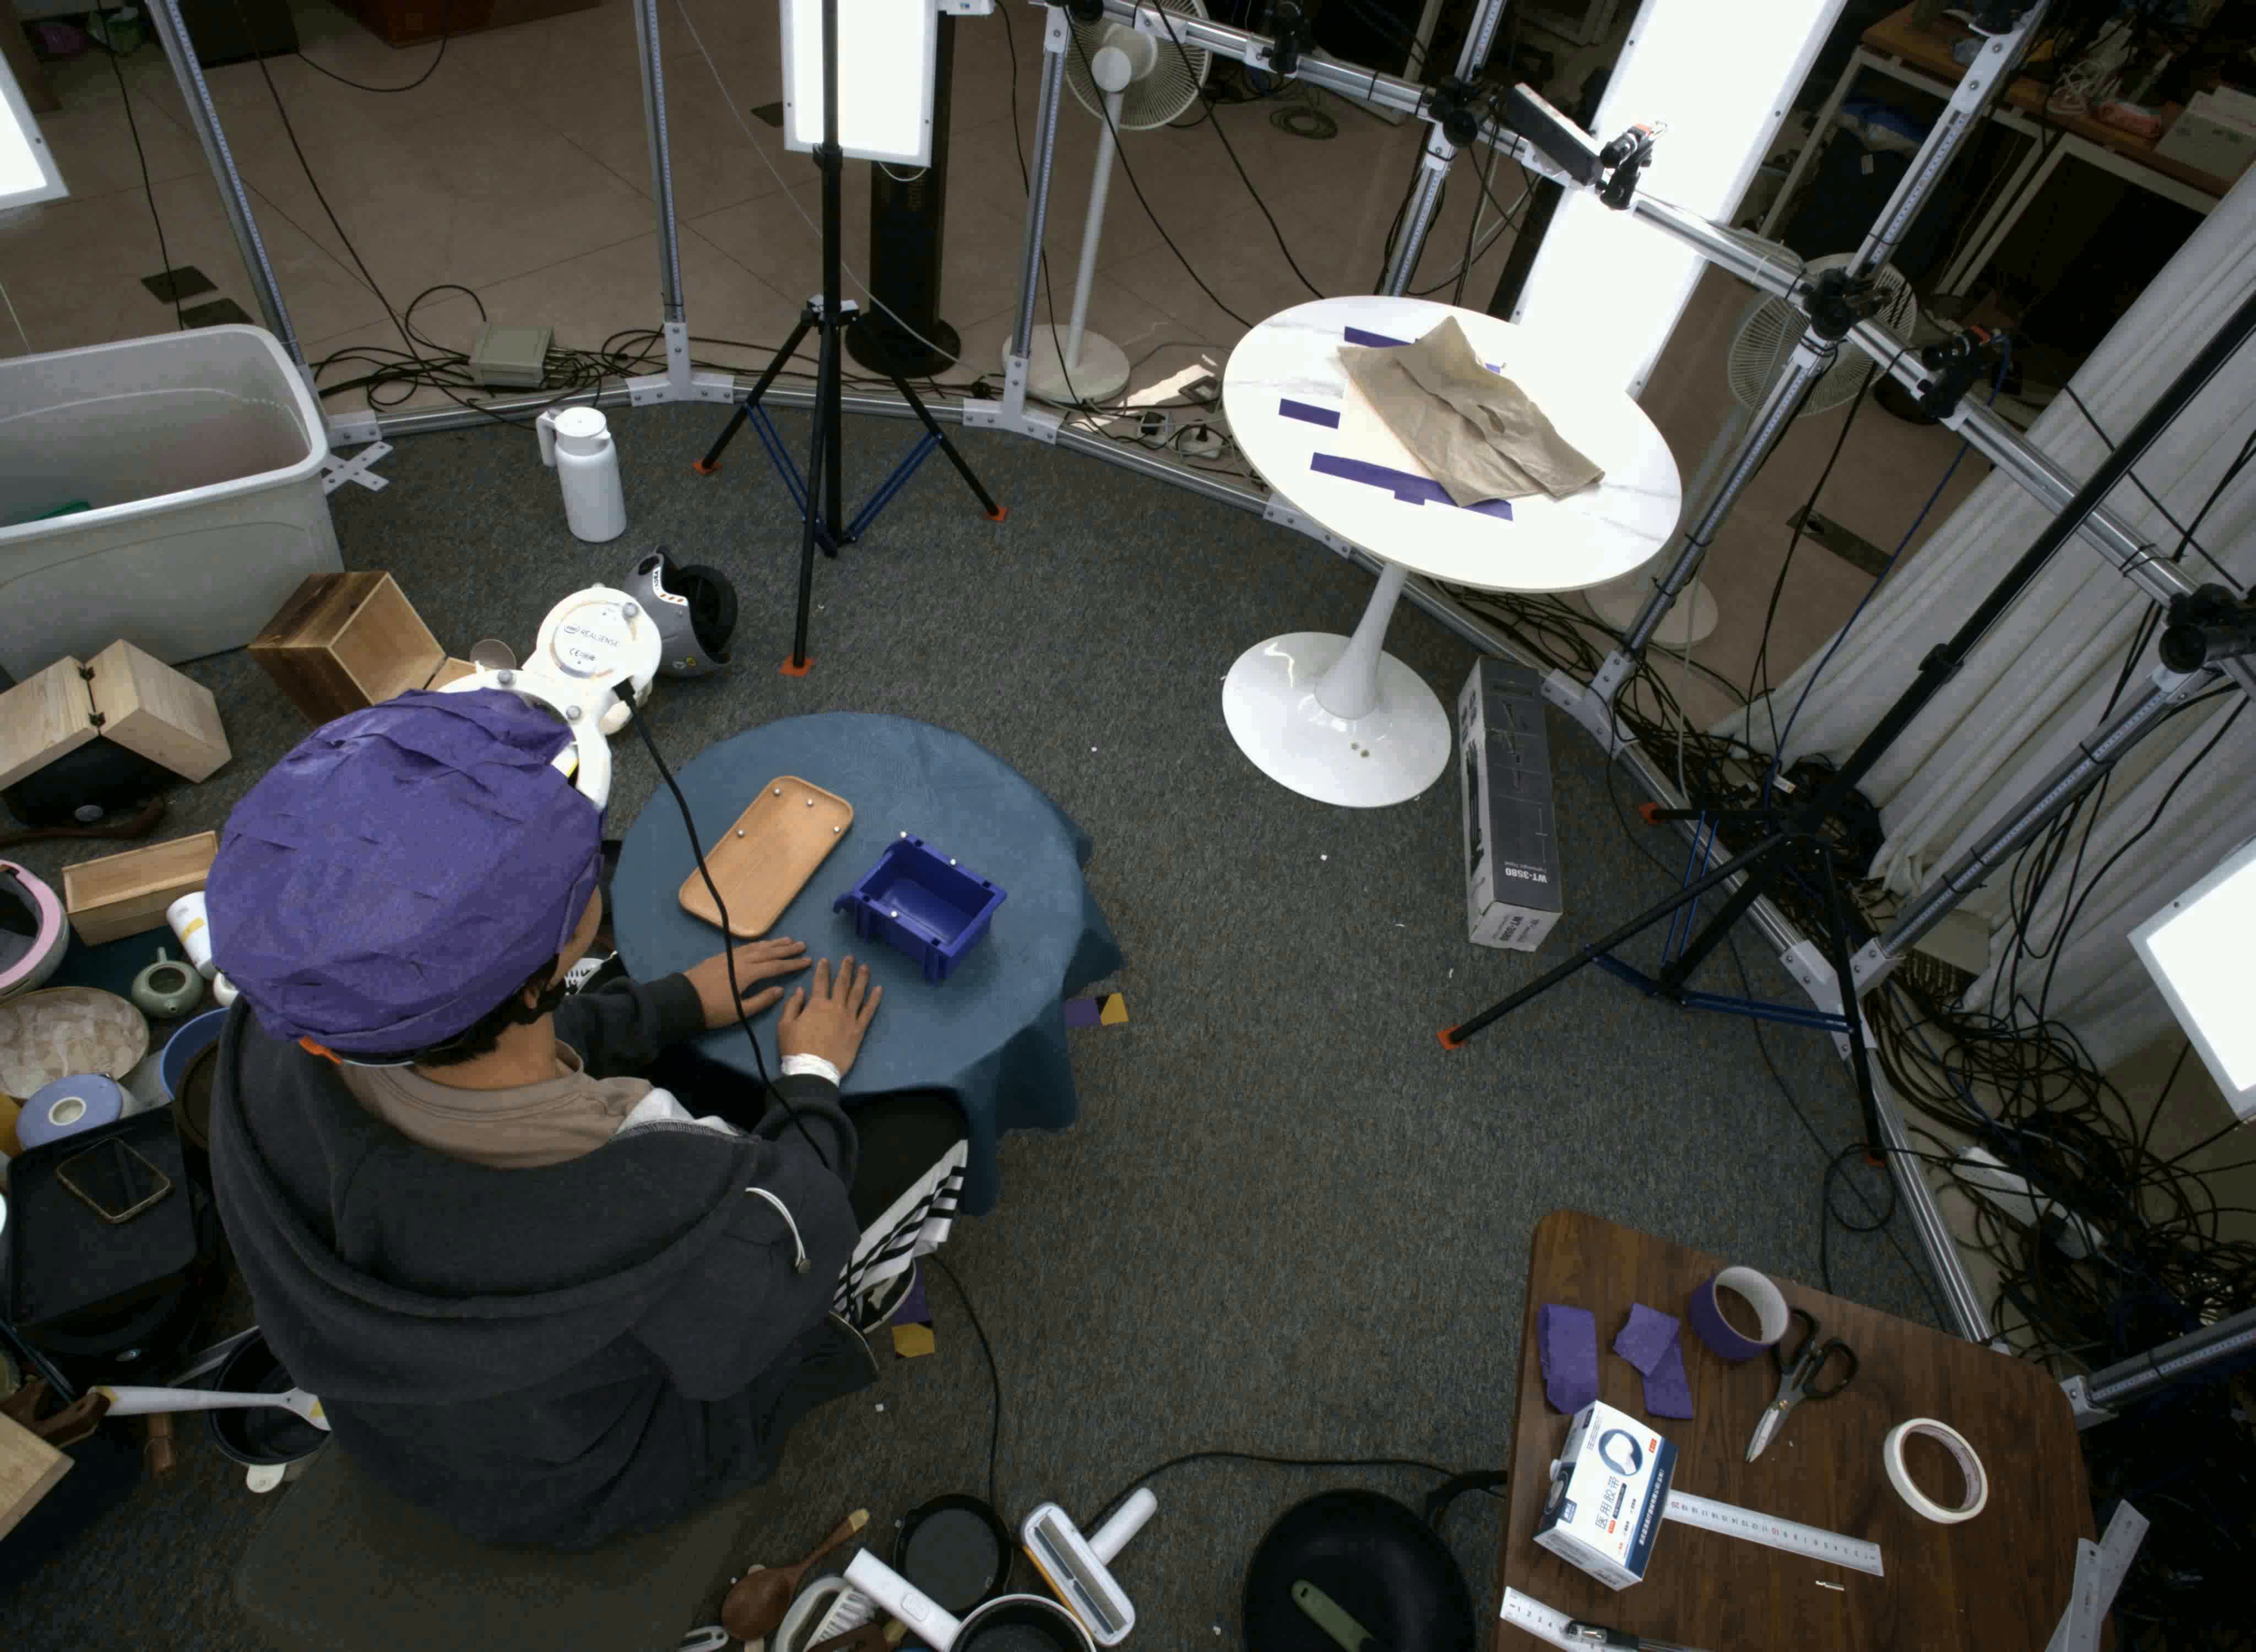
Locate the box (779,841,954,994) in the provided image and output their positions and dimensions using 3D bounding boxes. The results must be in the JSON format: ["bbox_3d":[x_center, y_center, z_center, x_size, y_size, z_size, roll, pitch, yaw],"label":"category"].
[{"bbox_3d":[-0.327,0.109,1.619,0.177,0.083,0.124,31,53,6],"label":"box"}]

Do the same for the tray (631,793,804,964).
[{"bbox_3d":[-0.521,0.062,1.647,0.128,0.023,0.249,22,52,6],"label":"tray"}]
